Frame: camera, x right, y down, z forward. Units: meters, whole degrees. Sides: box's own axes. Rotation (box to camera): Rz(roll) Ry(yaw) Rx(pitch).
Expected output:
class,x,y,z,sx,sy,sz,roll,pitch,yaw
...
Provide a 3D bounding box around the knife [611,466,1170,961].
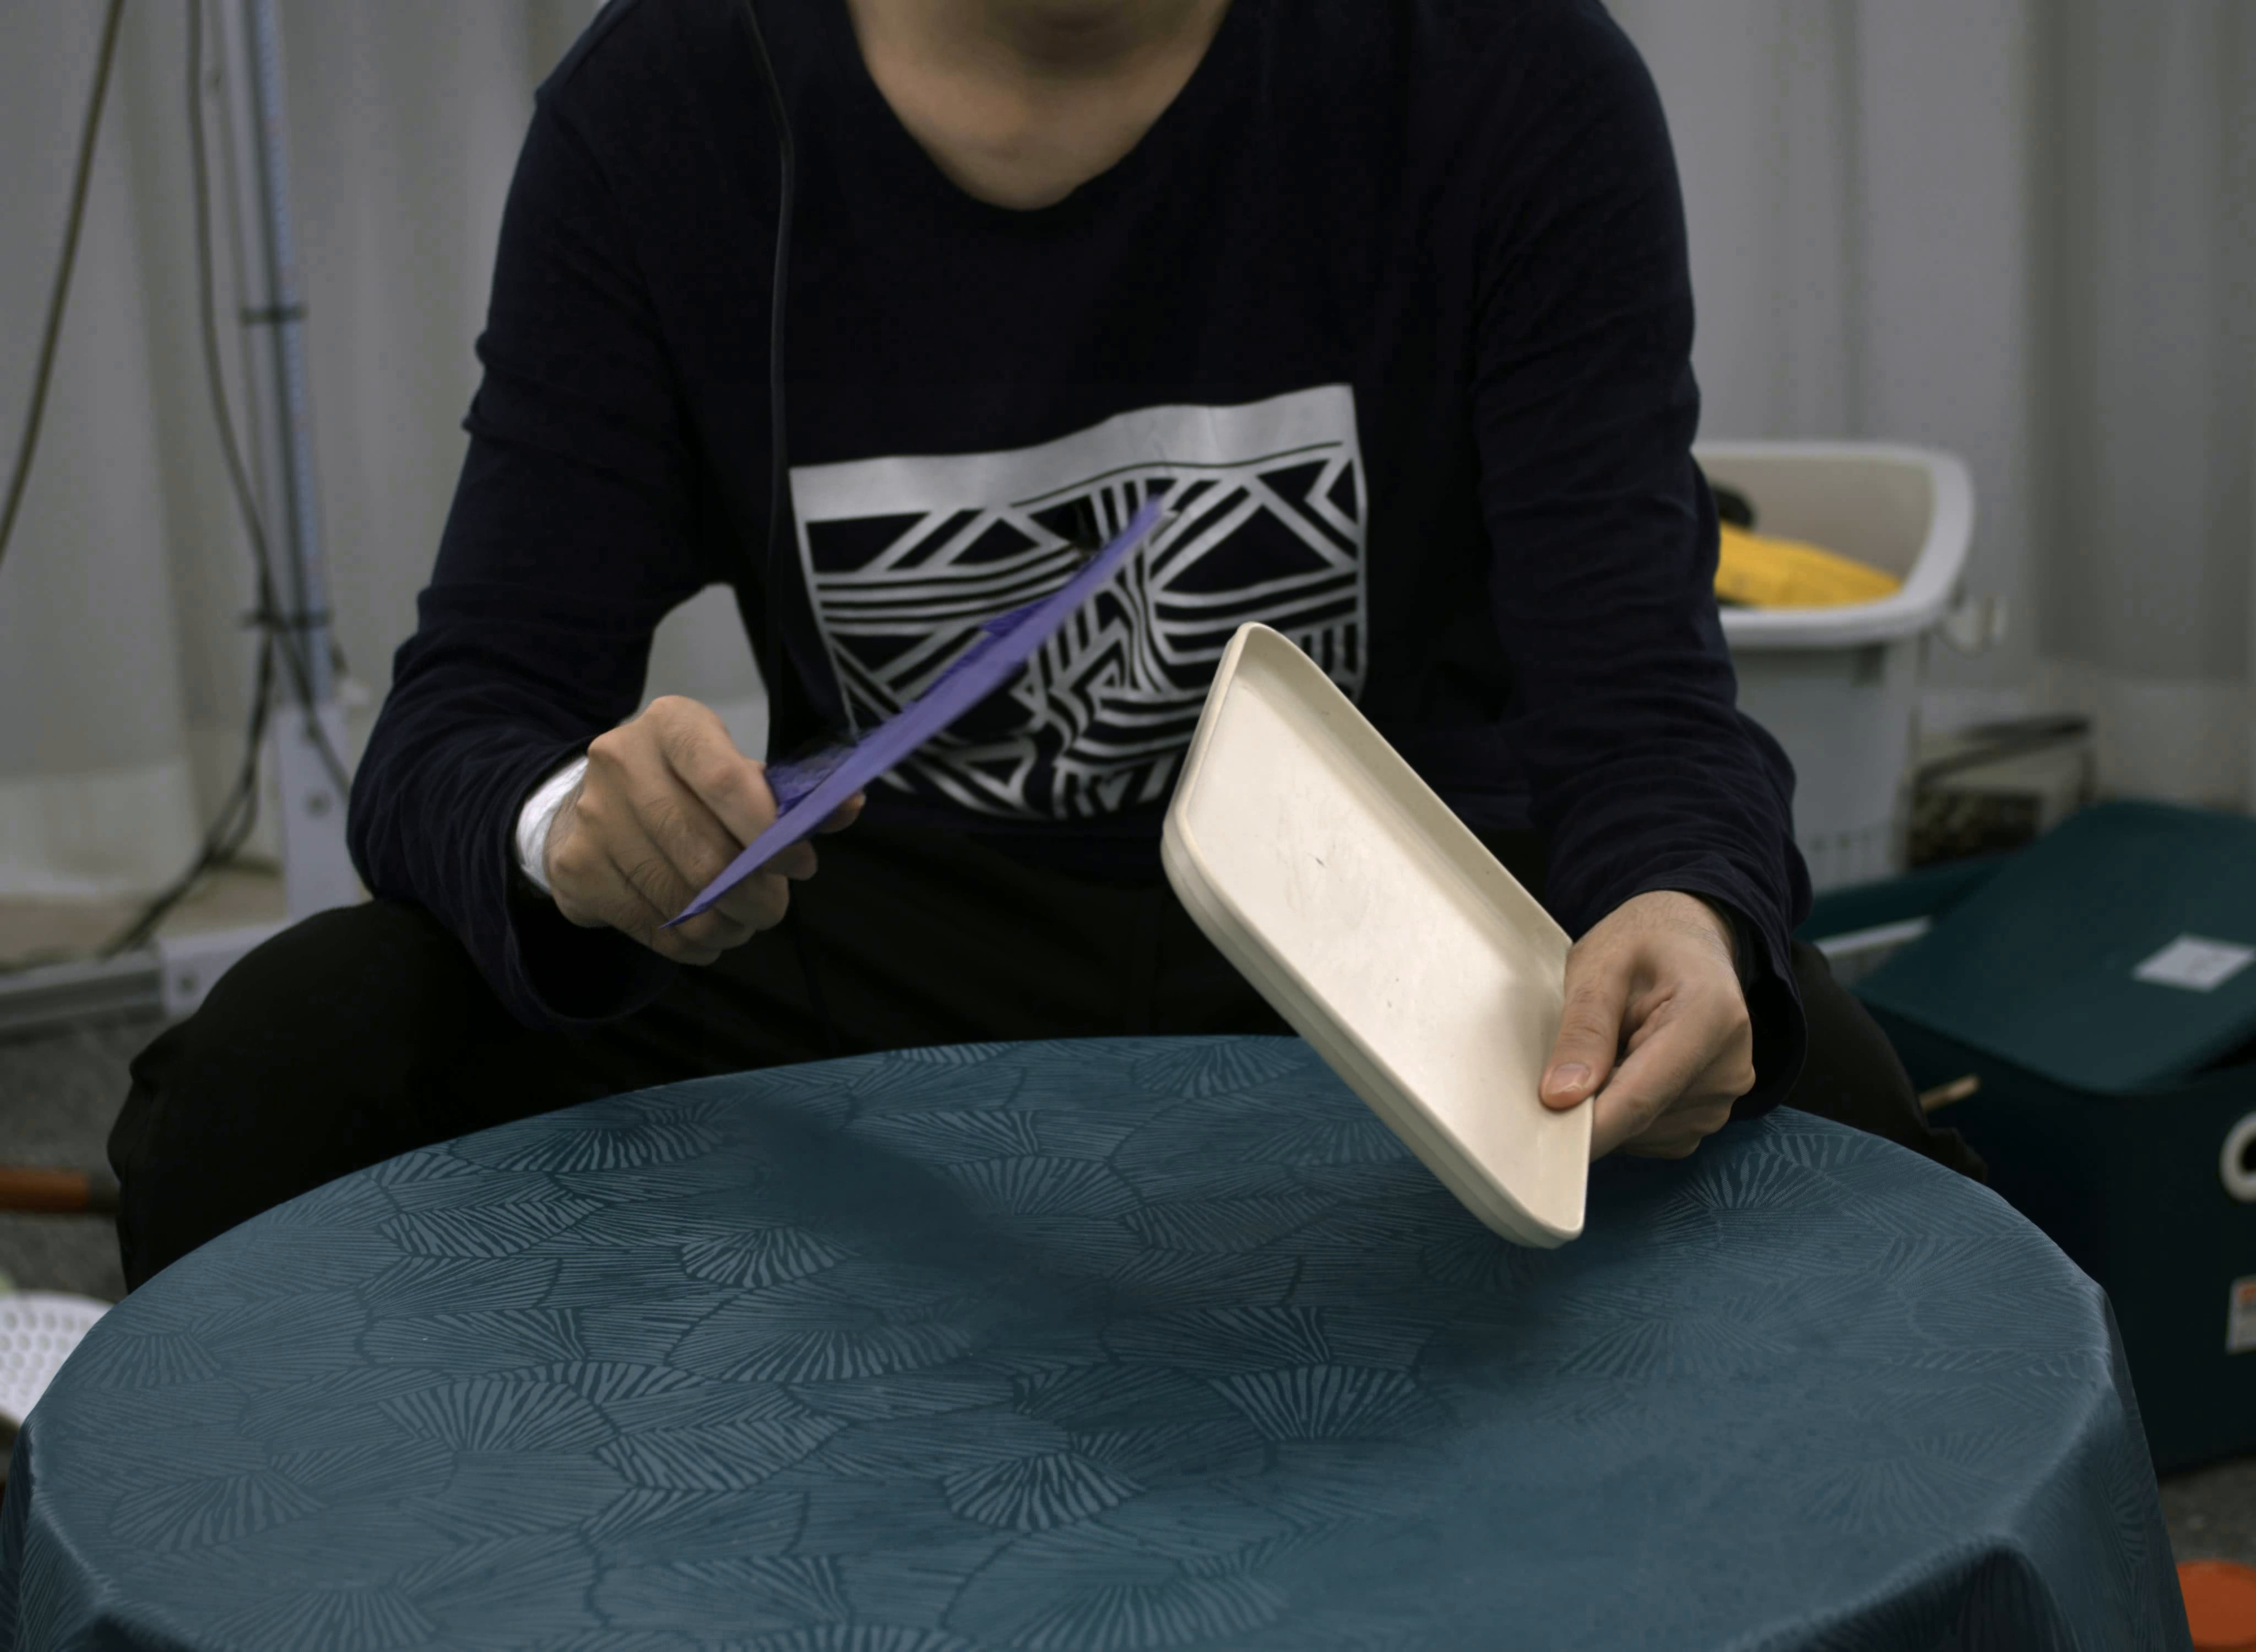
class,x,y,z,sx,sy,sz,roll,pitch,yaw
knife,-0.095,-0.016,1.653,0.104,0.032,0.313,-45,3,-40

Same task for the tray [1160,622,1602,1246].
class,x,y,z,sx,sy,sz,roll,pitch,yaw
tray,0.076,0.030,1.626,0.017,0.171,0.241,-42,8,17
